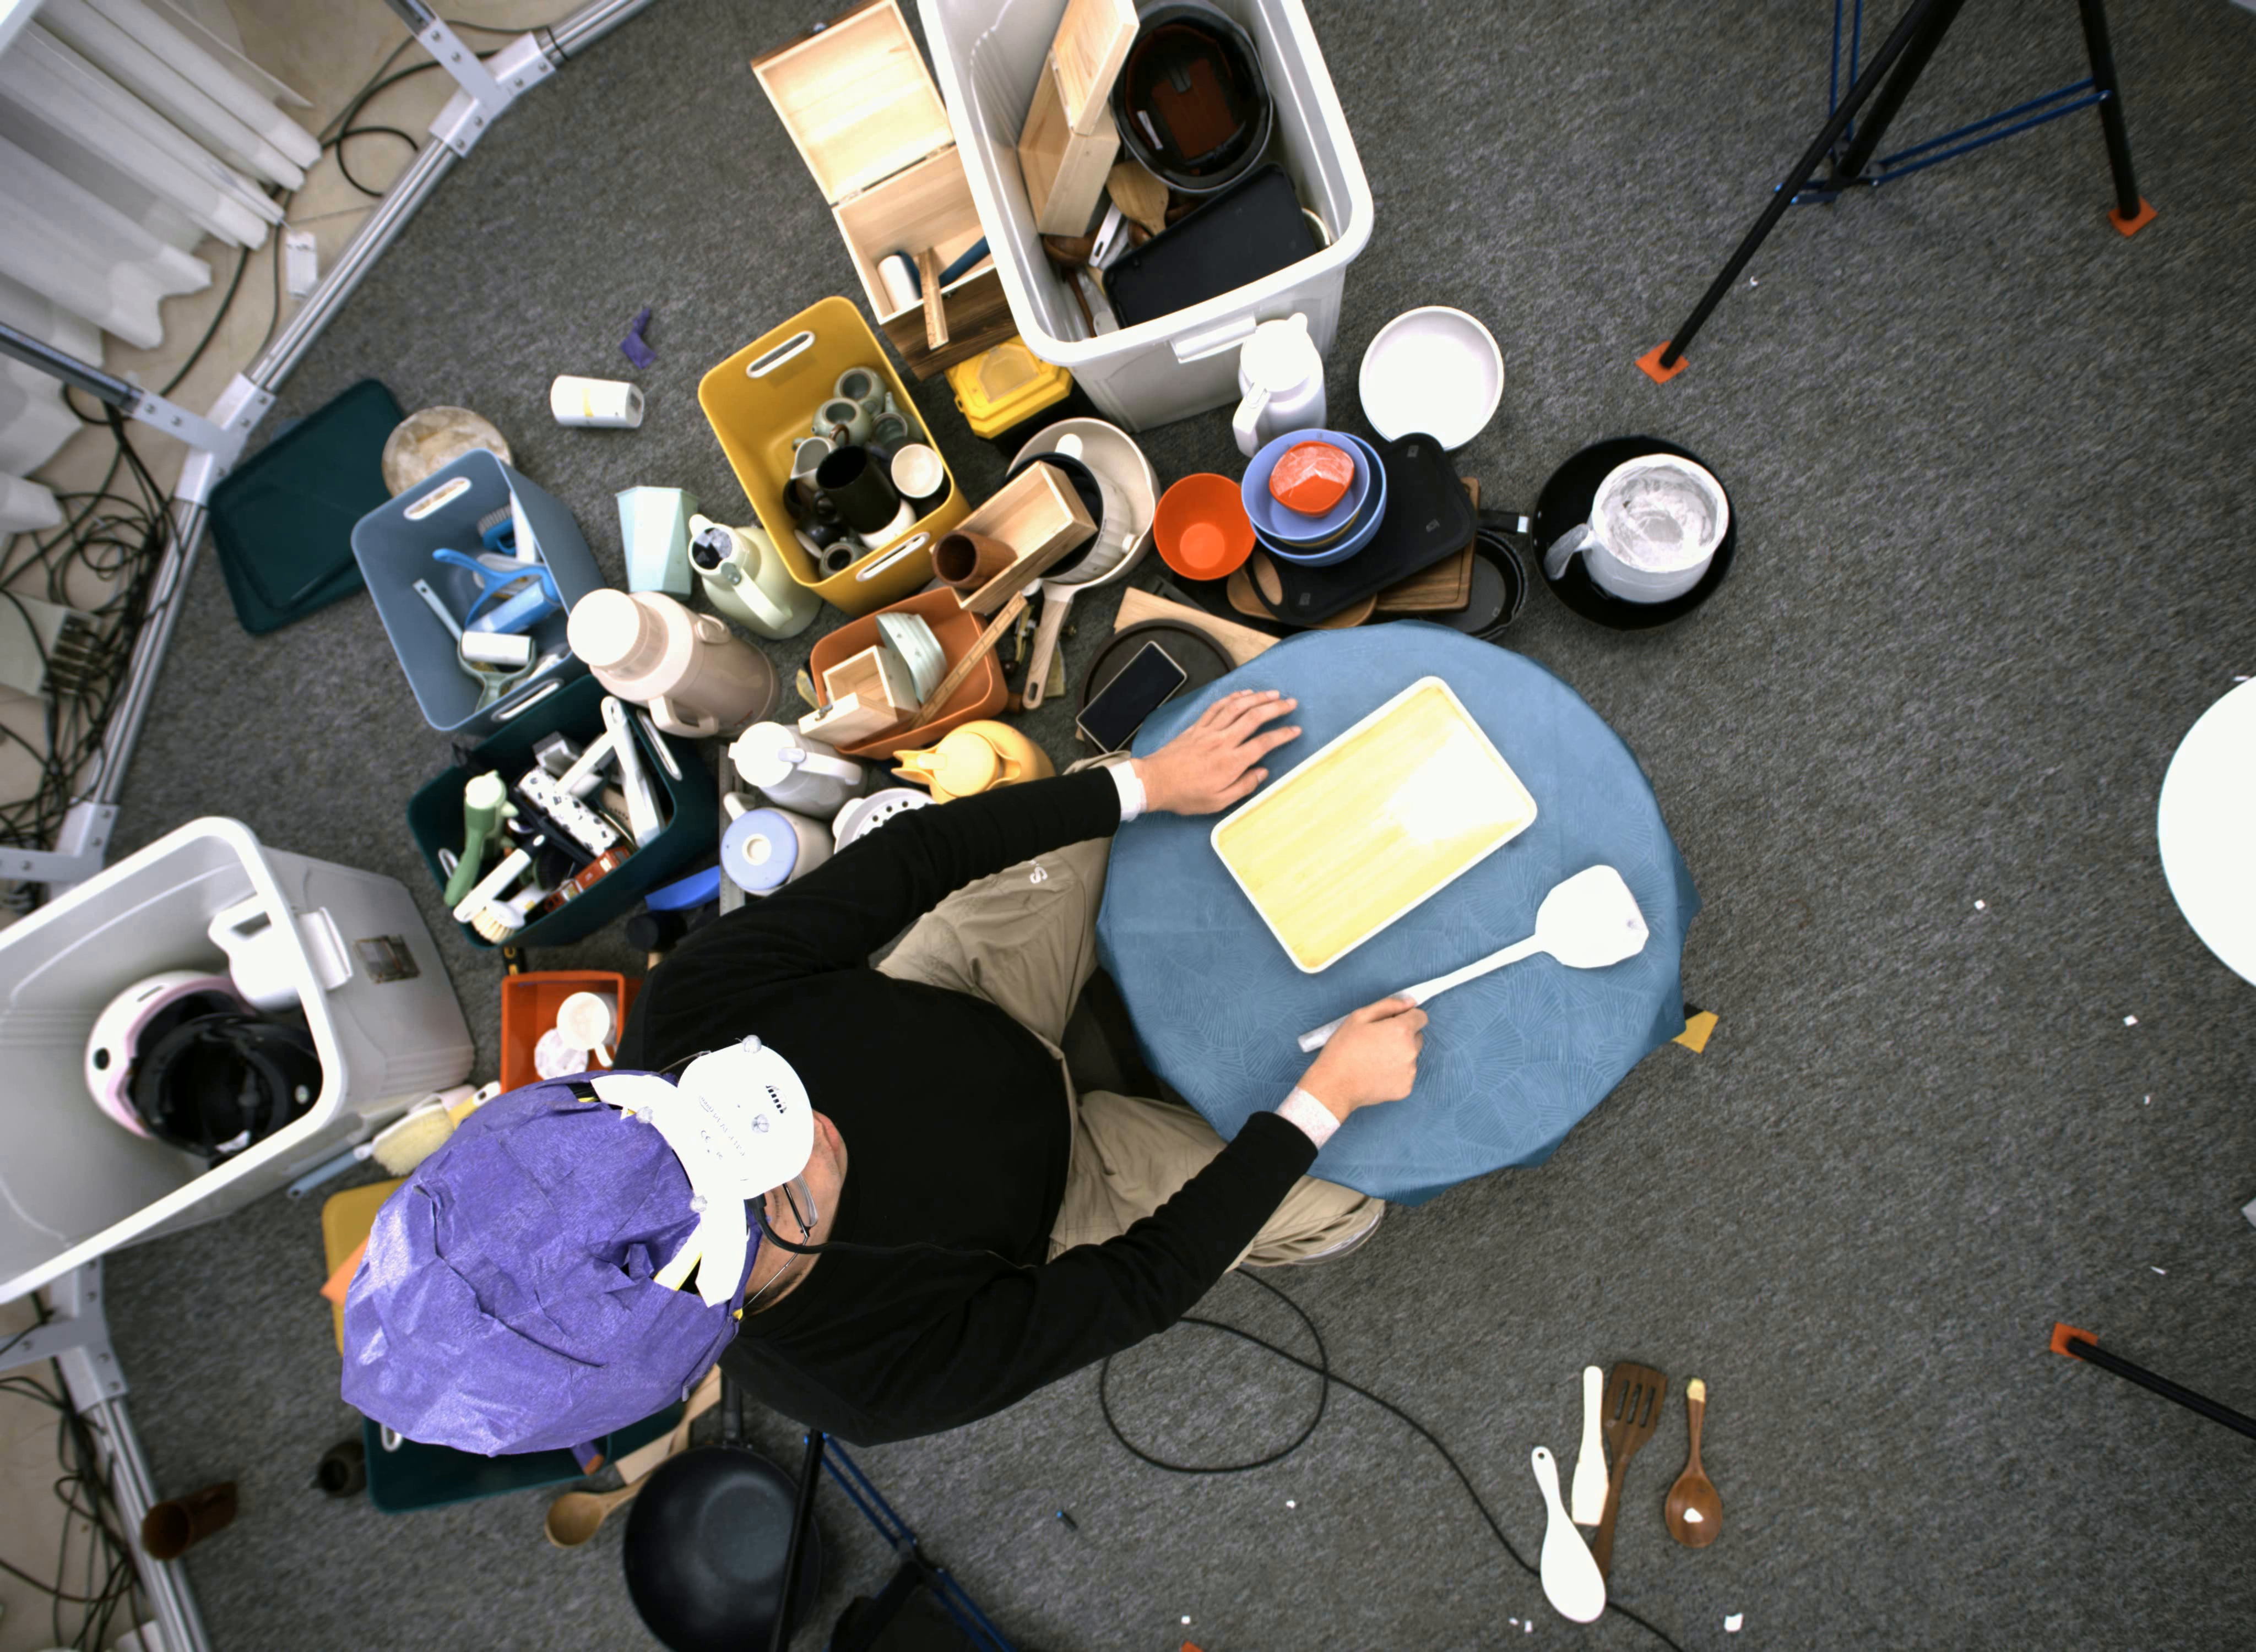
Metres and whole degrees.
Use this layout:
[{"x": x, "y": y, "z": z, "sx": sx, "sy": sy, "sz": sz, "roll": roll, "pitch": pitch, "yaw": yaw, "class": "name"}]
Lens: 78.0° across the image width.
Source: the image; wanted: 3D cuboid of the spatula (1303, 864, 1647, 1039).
[{"x": 0.350, "y": 0.147, "z": 1.422, "sx": 0.367, "sy": 0.045, "sz": 0.098, "roll": -24, "pitch": 82, "yaw": 8, "class": "spatula"}]

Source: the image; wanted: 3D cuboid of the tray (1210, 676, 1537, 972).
[{"x": 0.256, "y": -0.003, "z": 1.453, "sx": 0.302, "sy": 0.027, "sz": 0.190, "roll": -35, "pitch": 81, "yaw": 7, "class": "tray"}]
